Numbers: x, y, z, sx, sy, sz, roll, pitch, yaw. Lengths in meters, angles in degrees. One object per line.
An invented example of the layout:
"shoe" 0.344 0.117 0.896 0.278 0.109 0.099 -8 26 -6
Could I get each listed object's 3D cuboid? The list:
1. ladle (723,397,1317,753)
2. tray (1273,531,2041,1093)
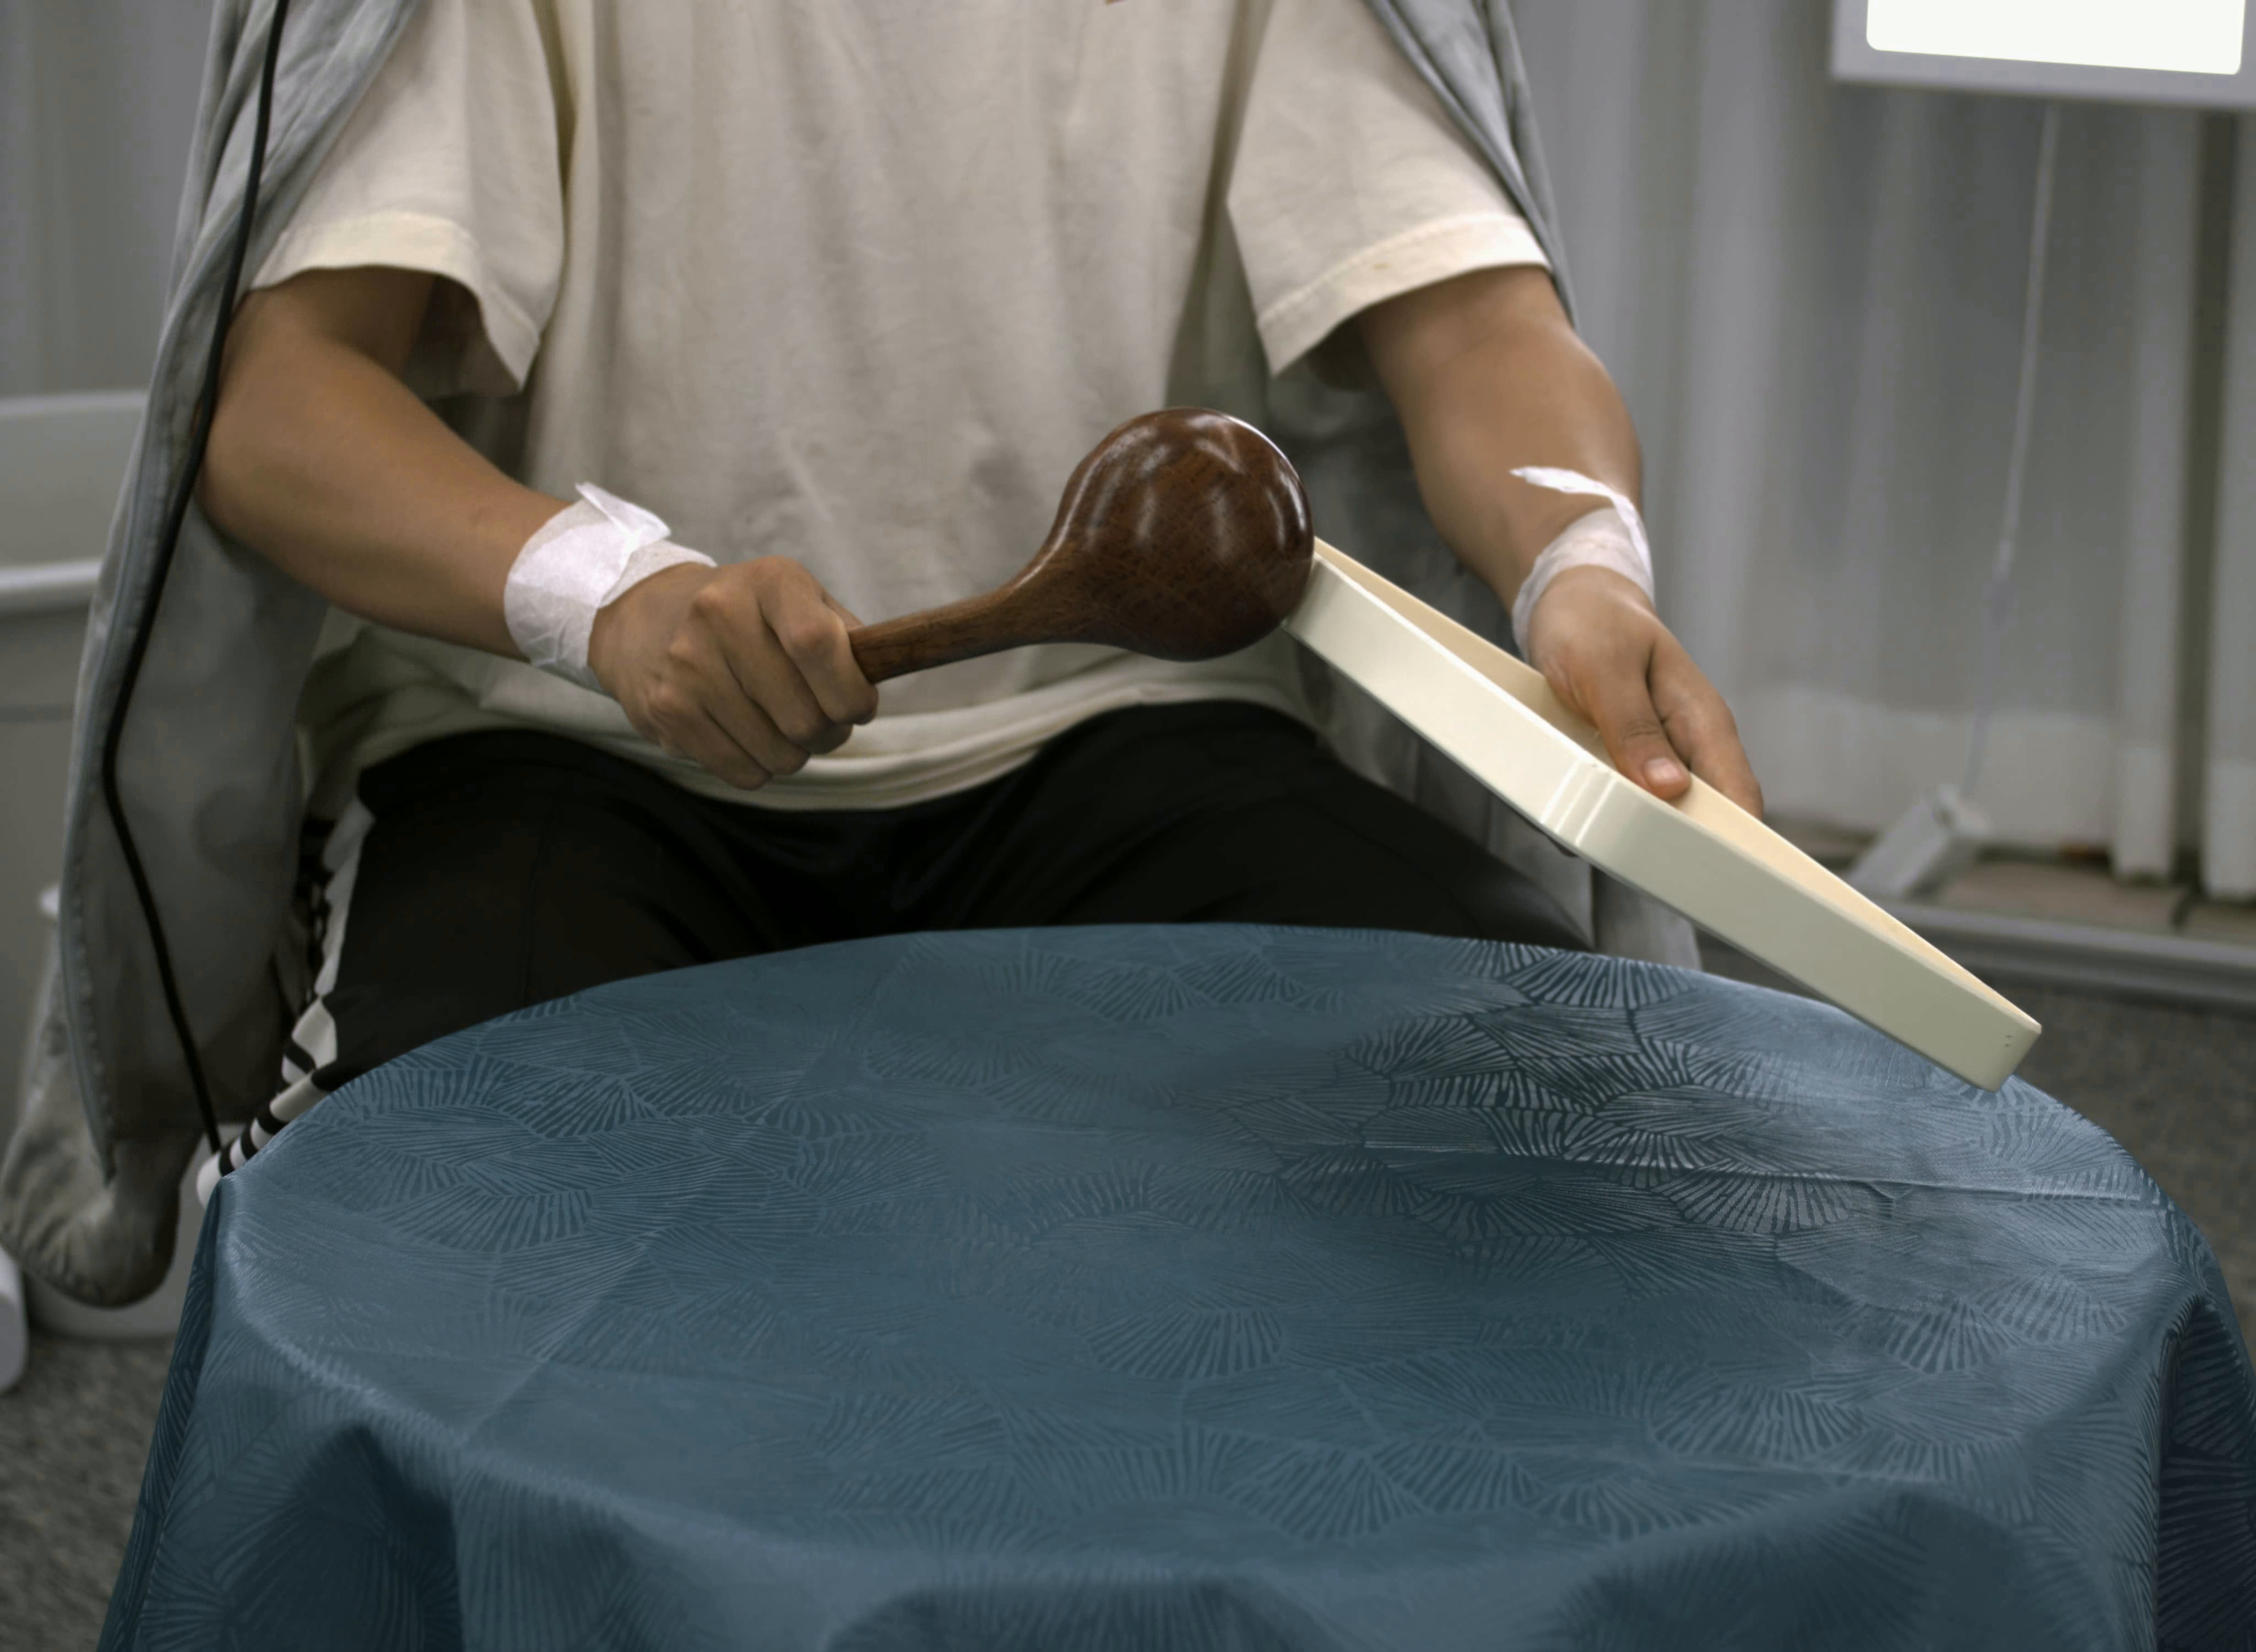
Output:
"ladle" -0.039 -0.075 1.728 0.077 0.082 0.272 -27 6 -34
"tray" 0.147 -0.015 1.659 0.193 0.027 0.296 29 7 -30
